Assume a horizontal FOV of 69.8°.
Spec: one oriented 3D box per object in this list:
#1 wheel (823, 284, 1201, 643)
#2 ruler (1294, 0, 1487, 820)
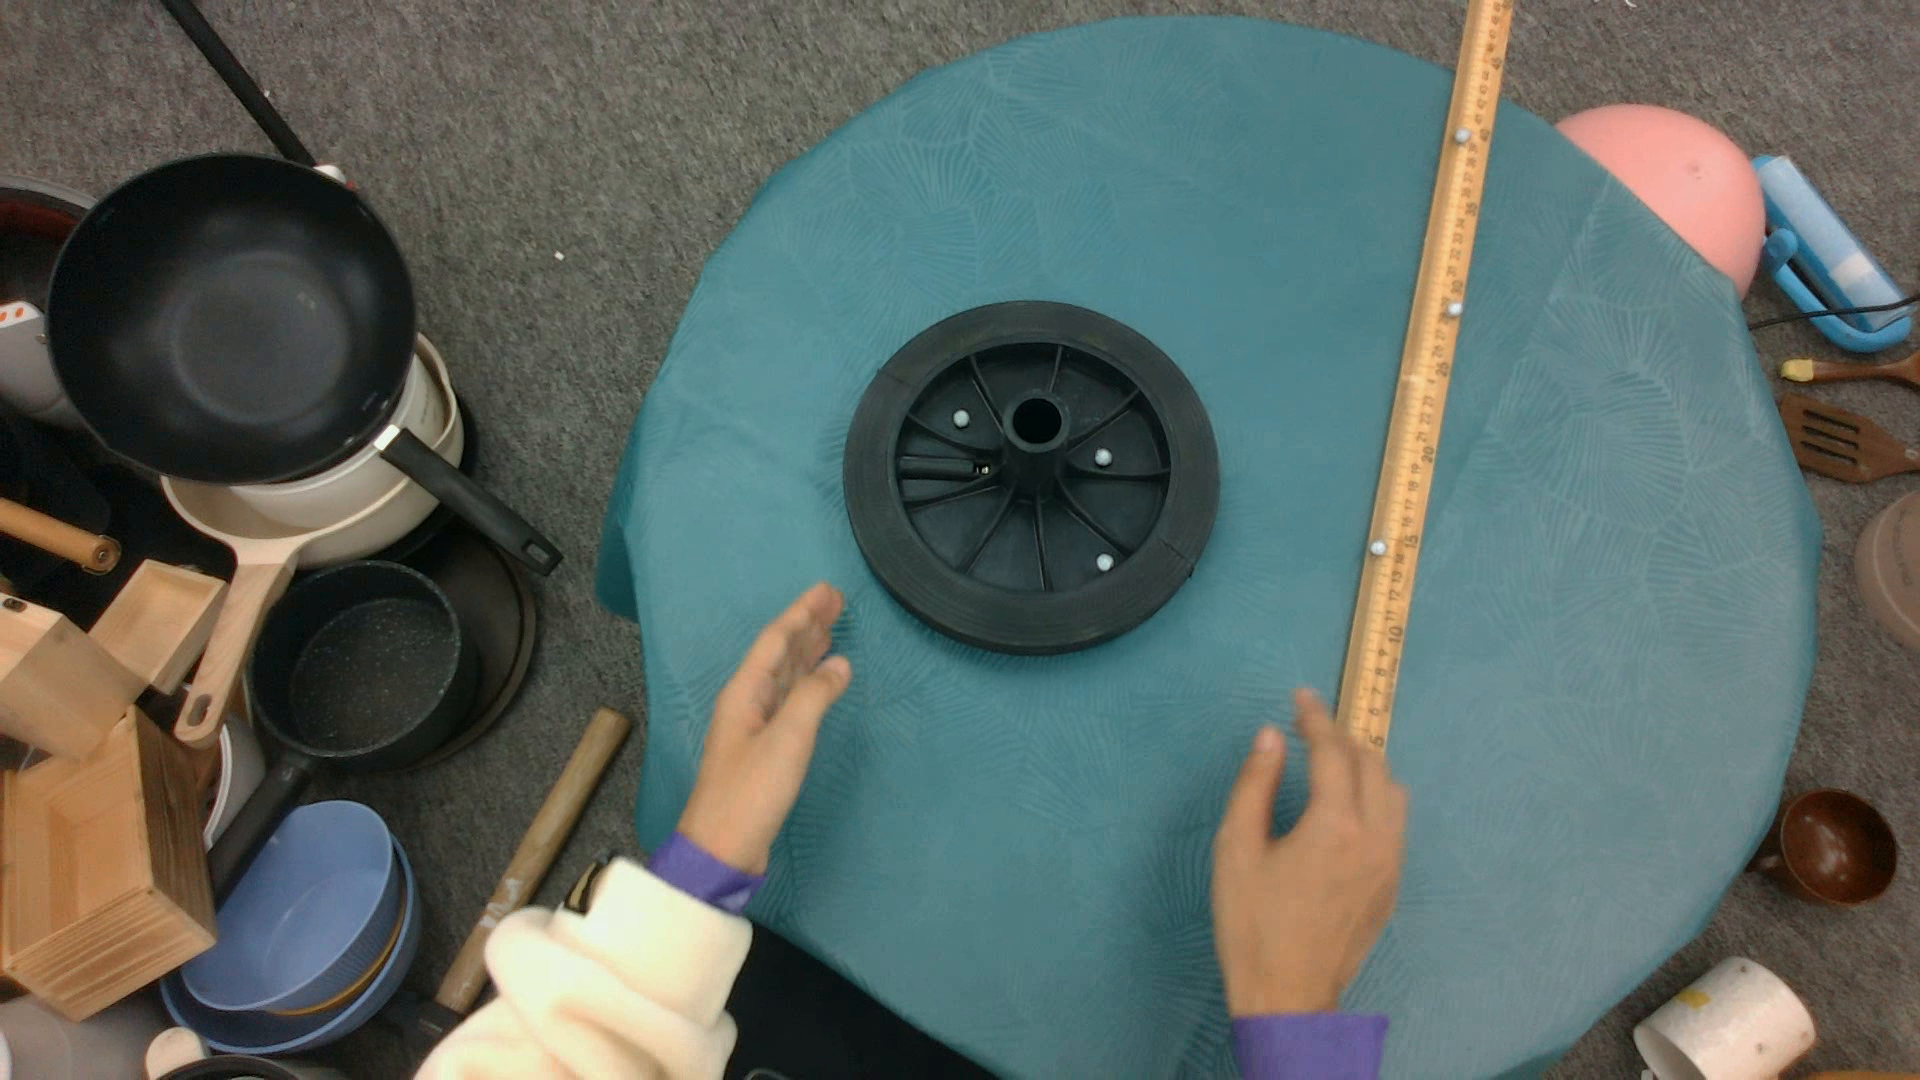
[{"bbox_3d":[0.026,-0.048,0.669,0.190,0.079,0.188,-19,72,-7],"label":"wheel"},{"bbox_3d":[0.234,-0.099,0.727,0.027,0.006,0.502,15,71,3],"label":"ruler"}]
